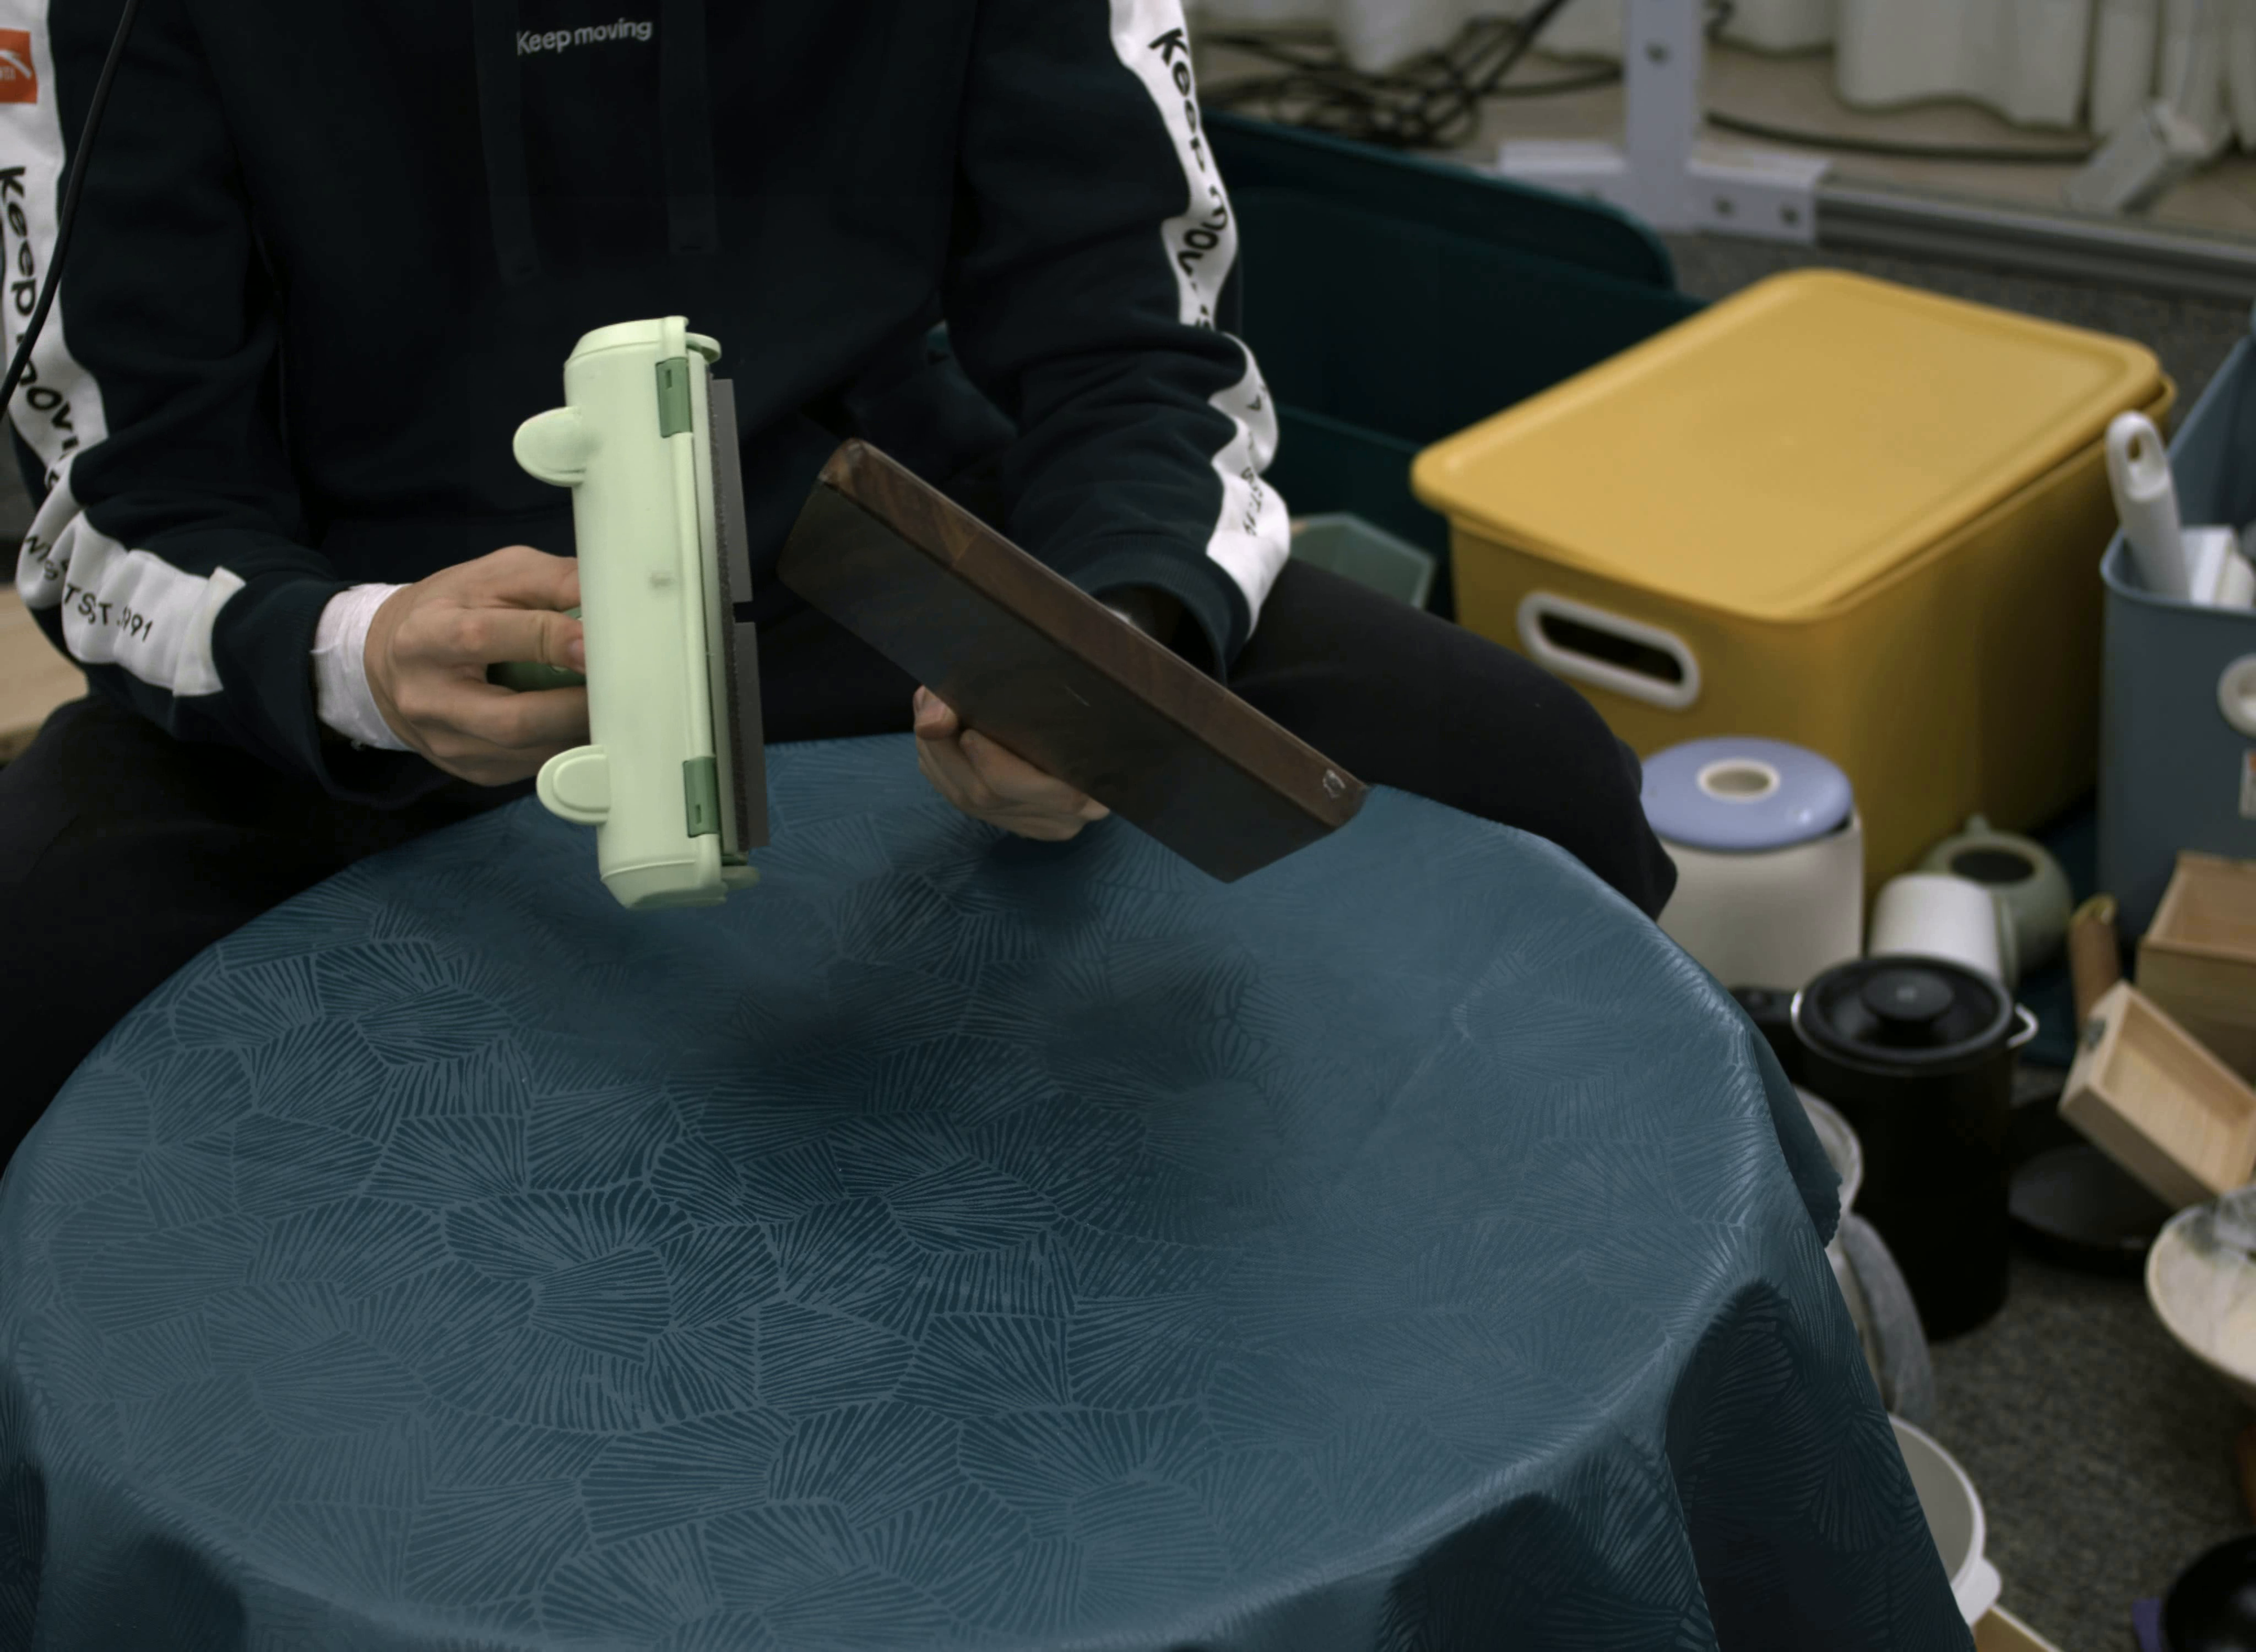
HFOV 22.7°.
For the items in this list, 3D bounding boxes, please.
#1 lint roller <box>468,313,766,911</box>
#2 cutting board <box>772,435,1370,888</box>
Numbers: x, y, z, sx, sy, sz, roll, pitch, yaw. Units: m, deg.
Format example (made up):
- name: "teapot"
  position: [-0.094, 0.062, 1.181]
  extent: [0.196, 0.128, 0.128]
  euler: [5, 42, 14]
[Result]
- name: "lint roller"
  position: [-0.197, -0.062, 1.931]
  extent: [0.082, 0.200, 0.181]
  euler: [3, -12, -40]
- name: "cutting board"
  position: [-0.031, -0.046, 1.909]
  extent: [0.200, 0.023, 0.350]
  euler: [35, -8, -3]
